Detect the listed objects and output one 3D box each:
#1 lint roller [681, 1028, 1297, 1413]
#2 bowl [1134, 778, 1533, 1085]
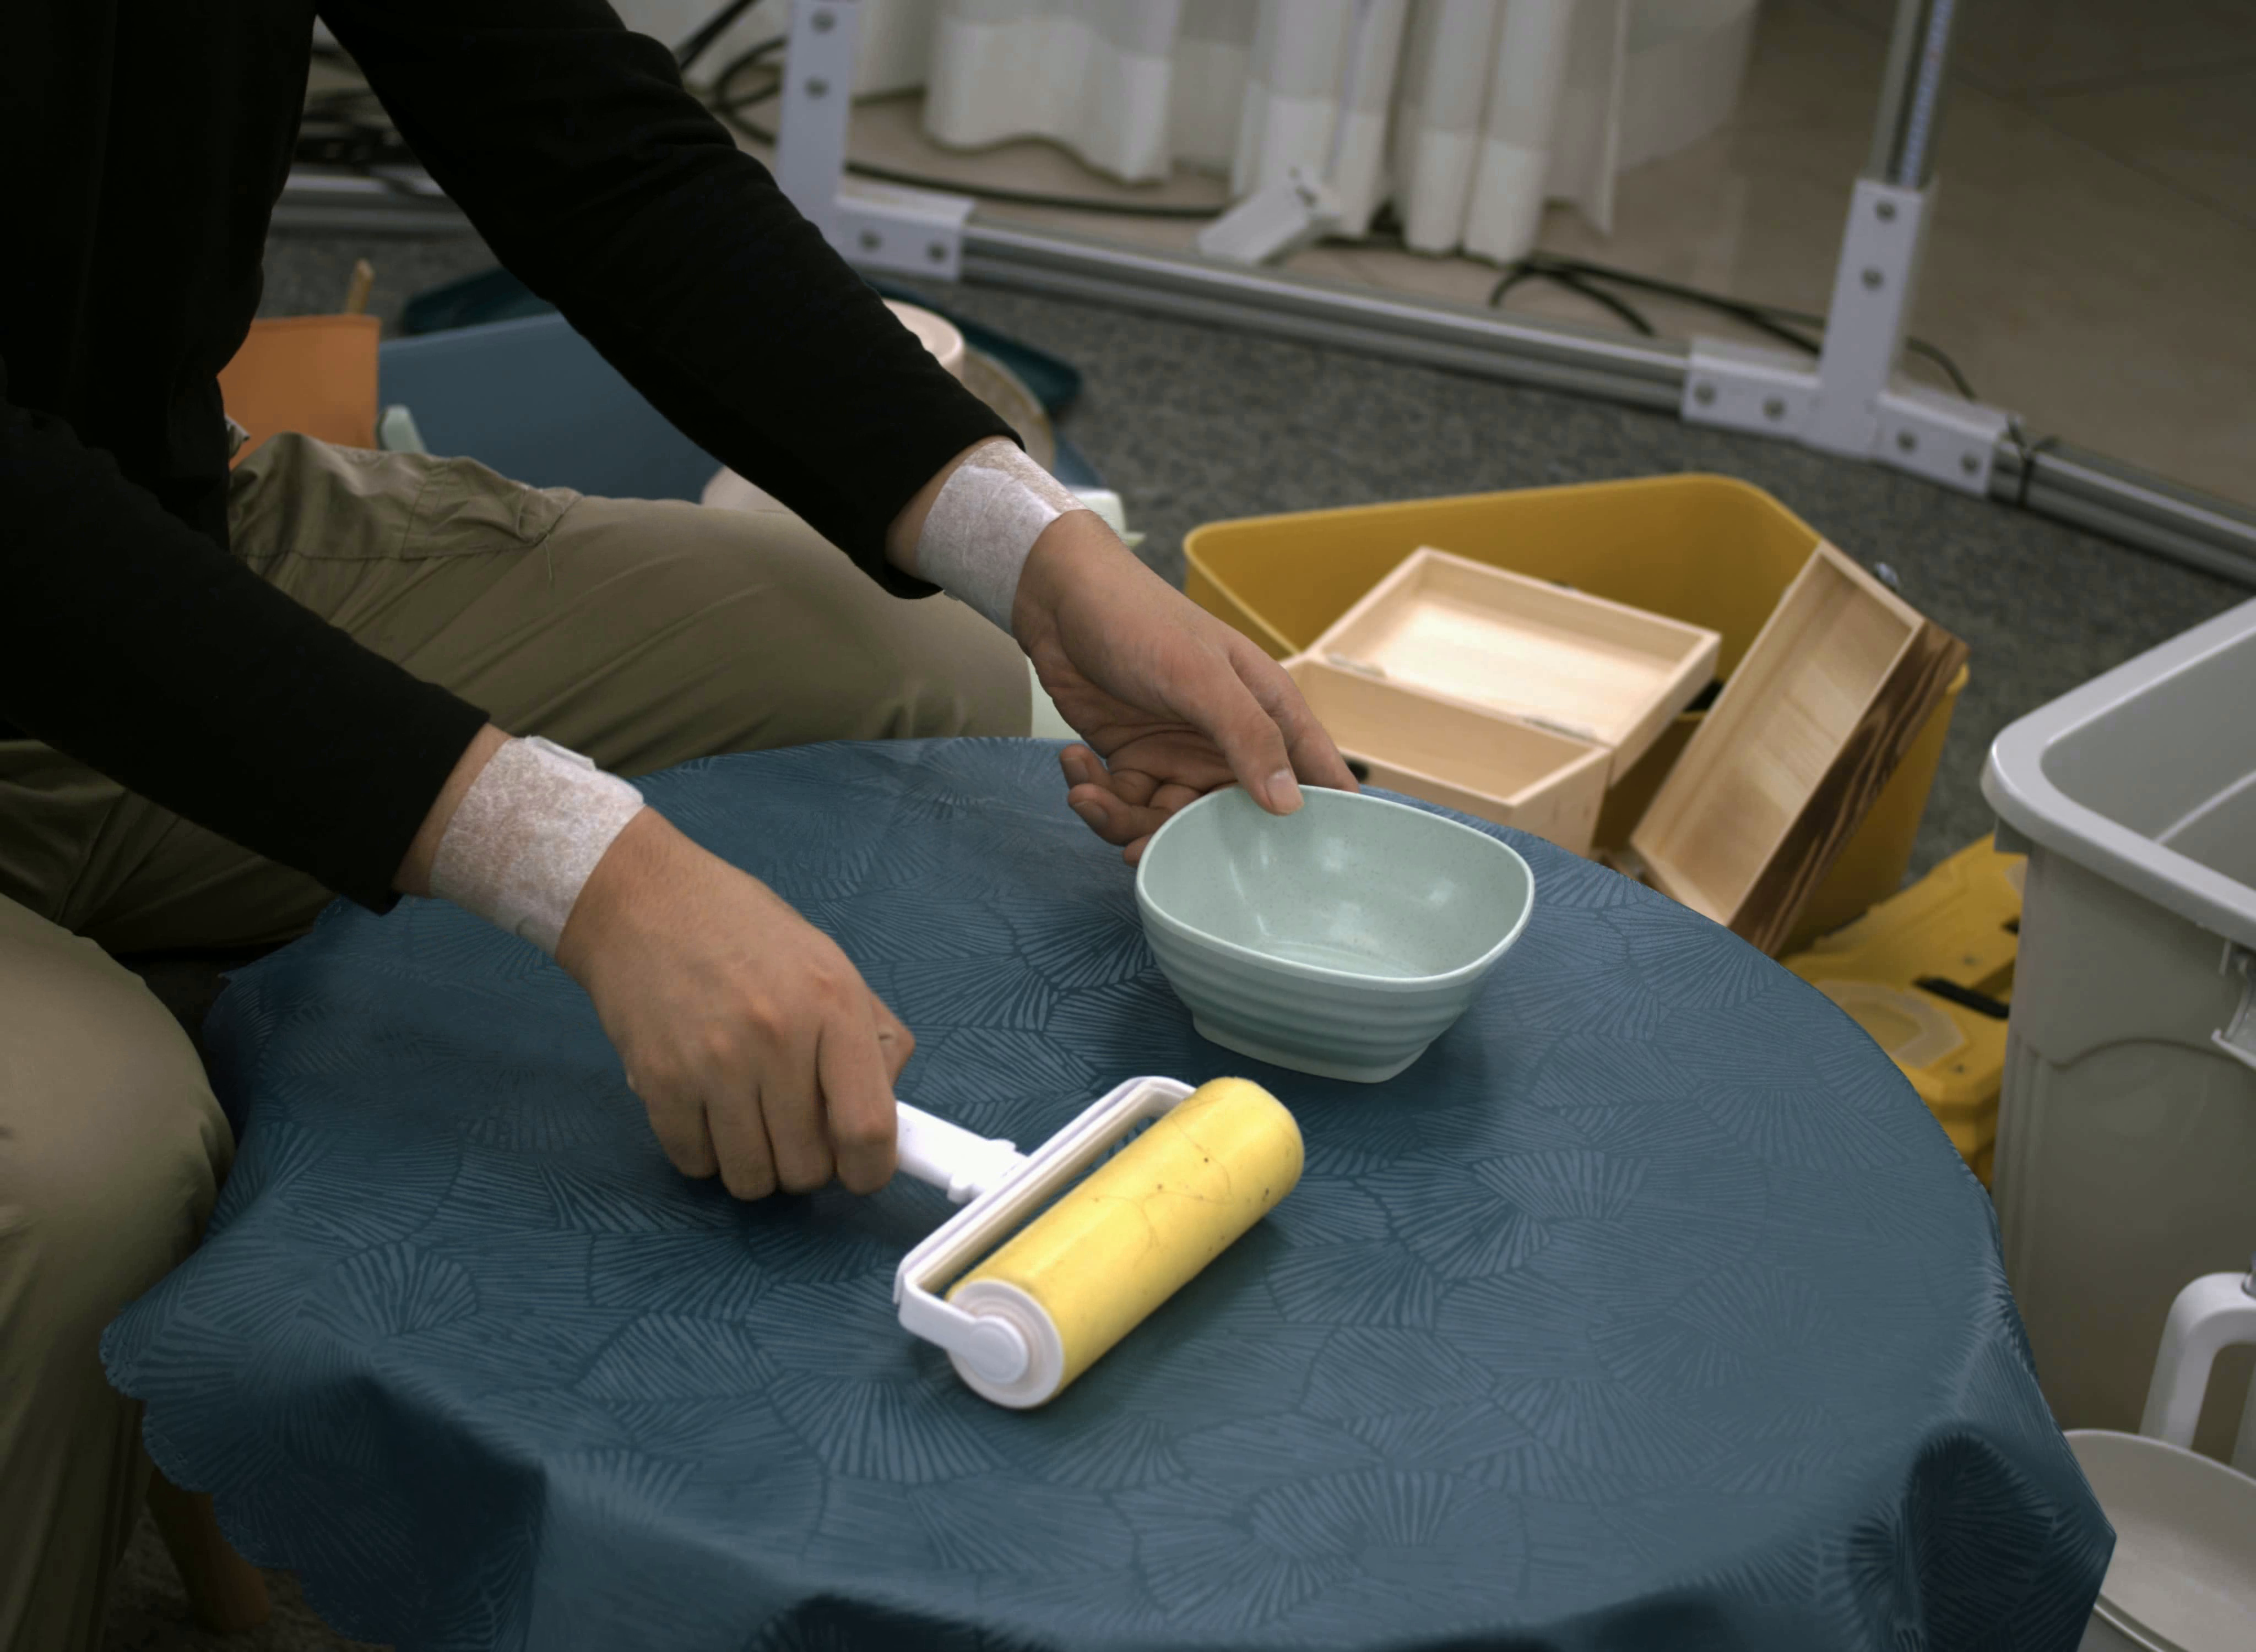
[{"bbox_3d":[-0.062,0.103,1.750,0.193,0.051,0.174,30,33,16],"label":"lint roller"},{"bbox_3d":[0.071,0.044,1.912,0.151,0.058,0.152,6,28,-4],"label":"bowl"}]
